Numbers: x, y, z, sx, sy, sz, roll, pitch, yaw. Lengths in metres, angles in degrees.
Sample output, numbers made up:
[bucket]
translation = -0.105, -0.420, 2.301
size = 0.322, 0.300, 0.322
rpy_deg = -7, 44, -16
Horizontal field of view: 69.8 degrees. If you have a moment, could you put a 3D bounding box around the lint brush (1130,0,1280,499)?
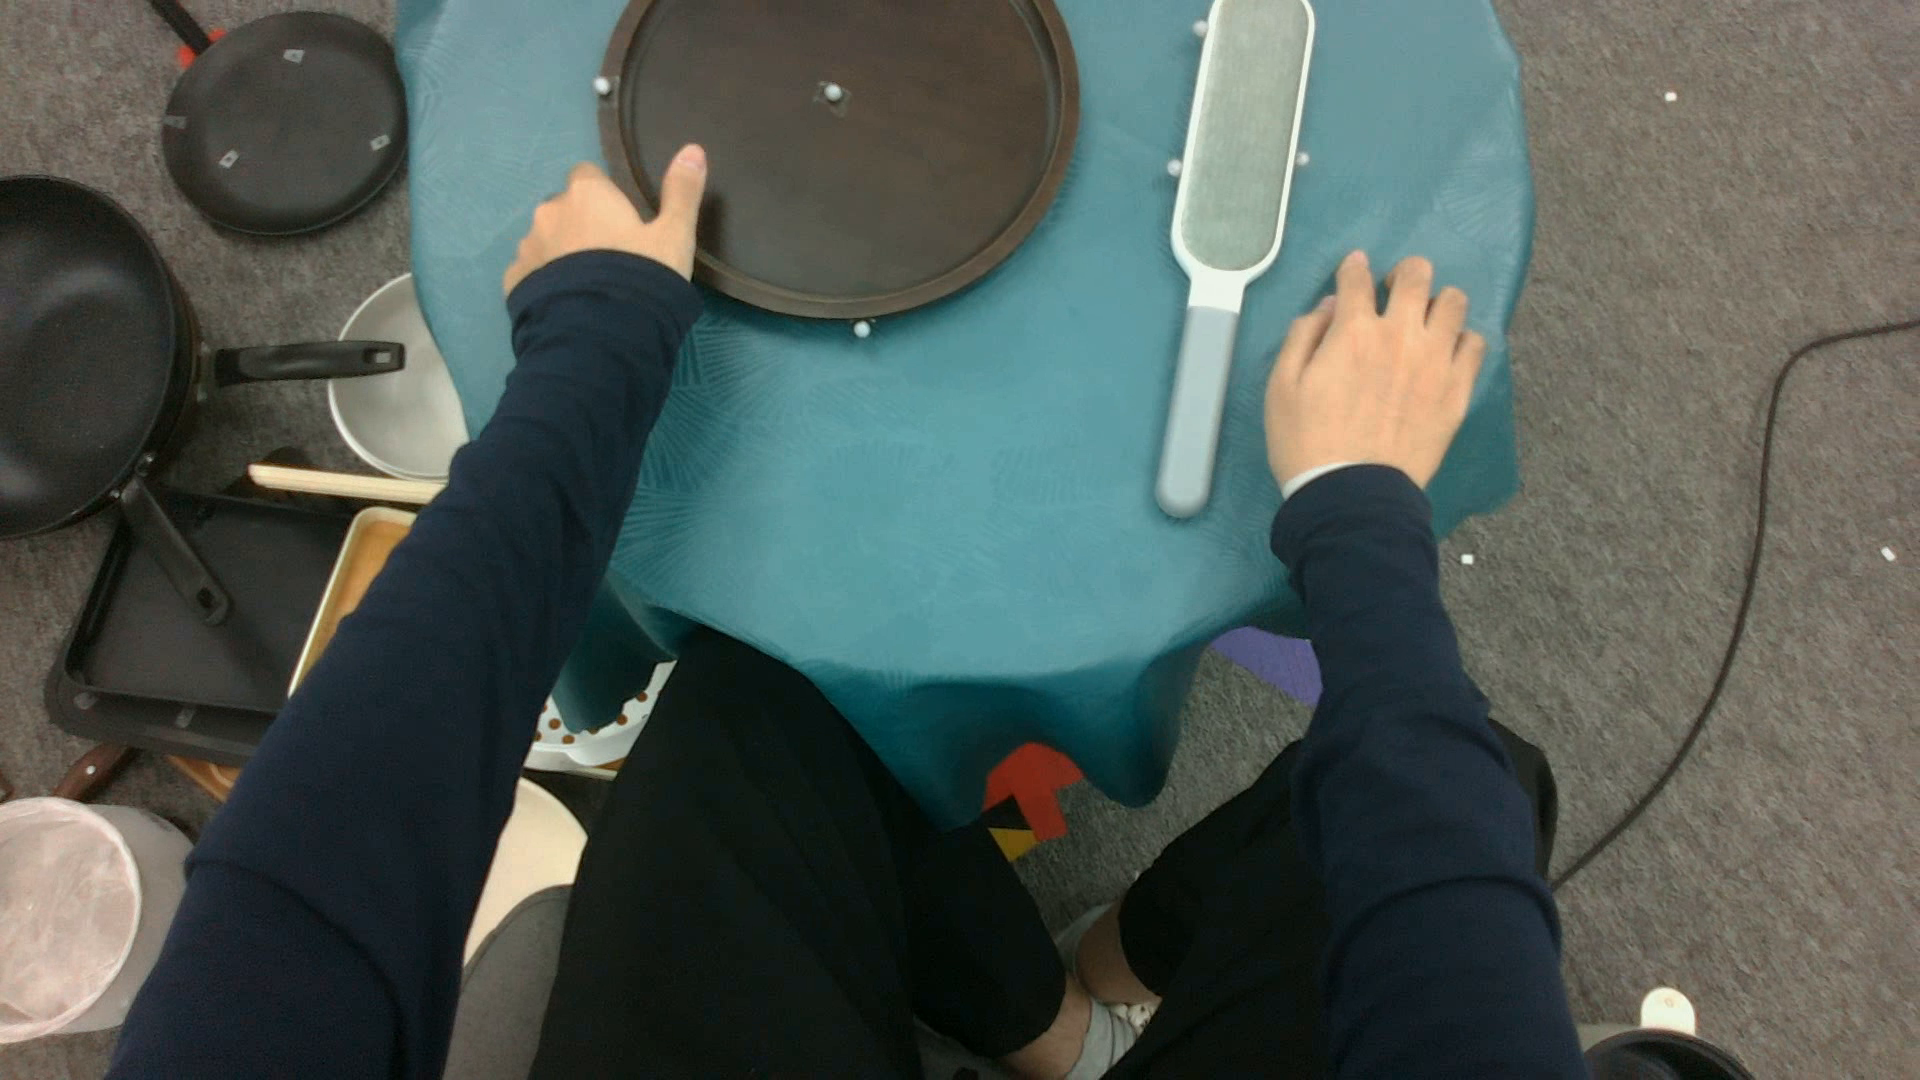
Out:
[lint brush]
translation = 0.122, -0.168, 0.718
size = 0.060, 0.021, 0.309
rpy_deg = 12, 75, -4

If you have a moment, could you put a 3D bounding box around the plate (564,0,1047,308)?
[plate]
translation = -0.080, -0.239, 0.730
size = 0.255, 0.029, 0.255
rpy_deg = 0, 74, 0
